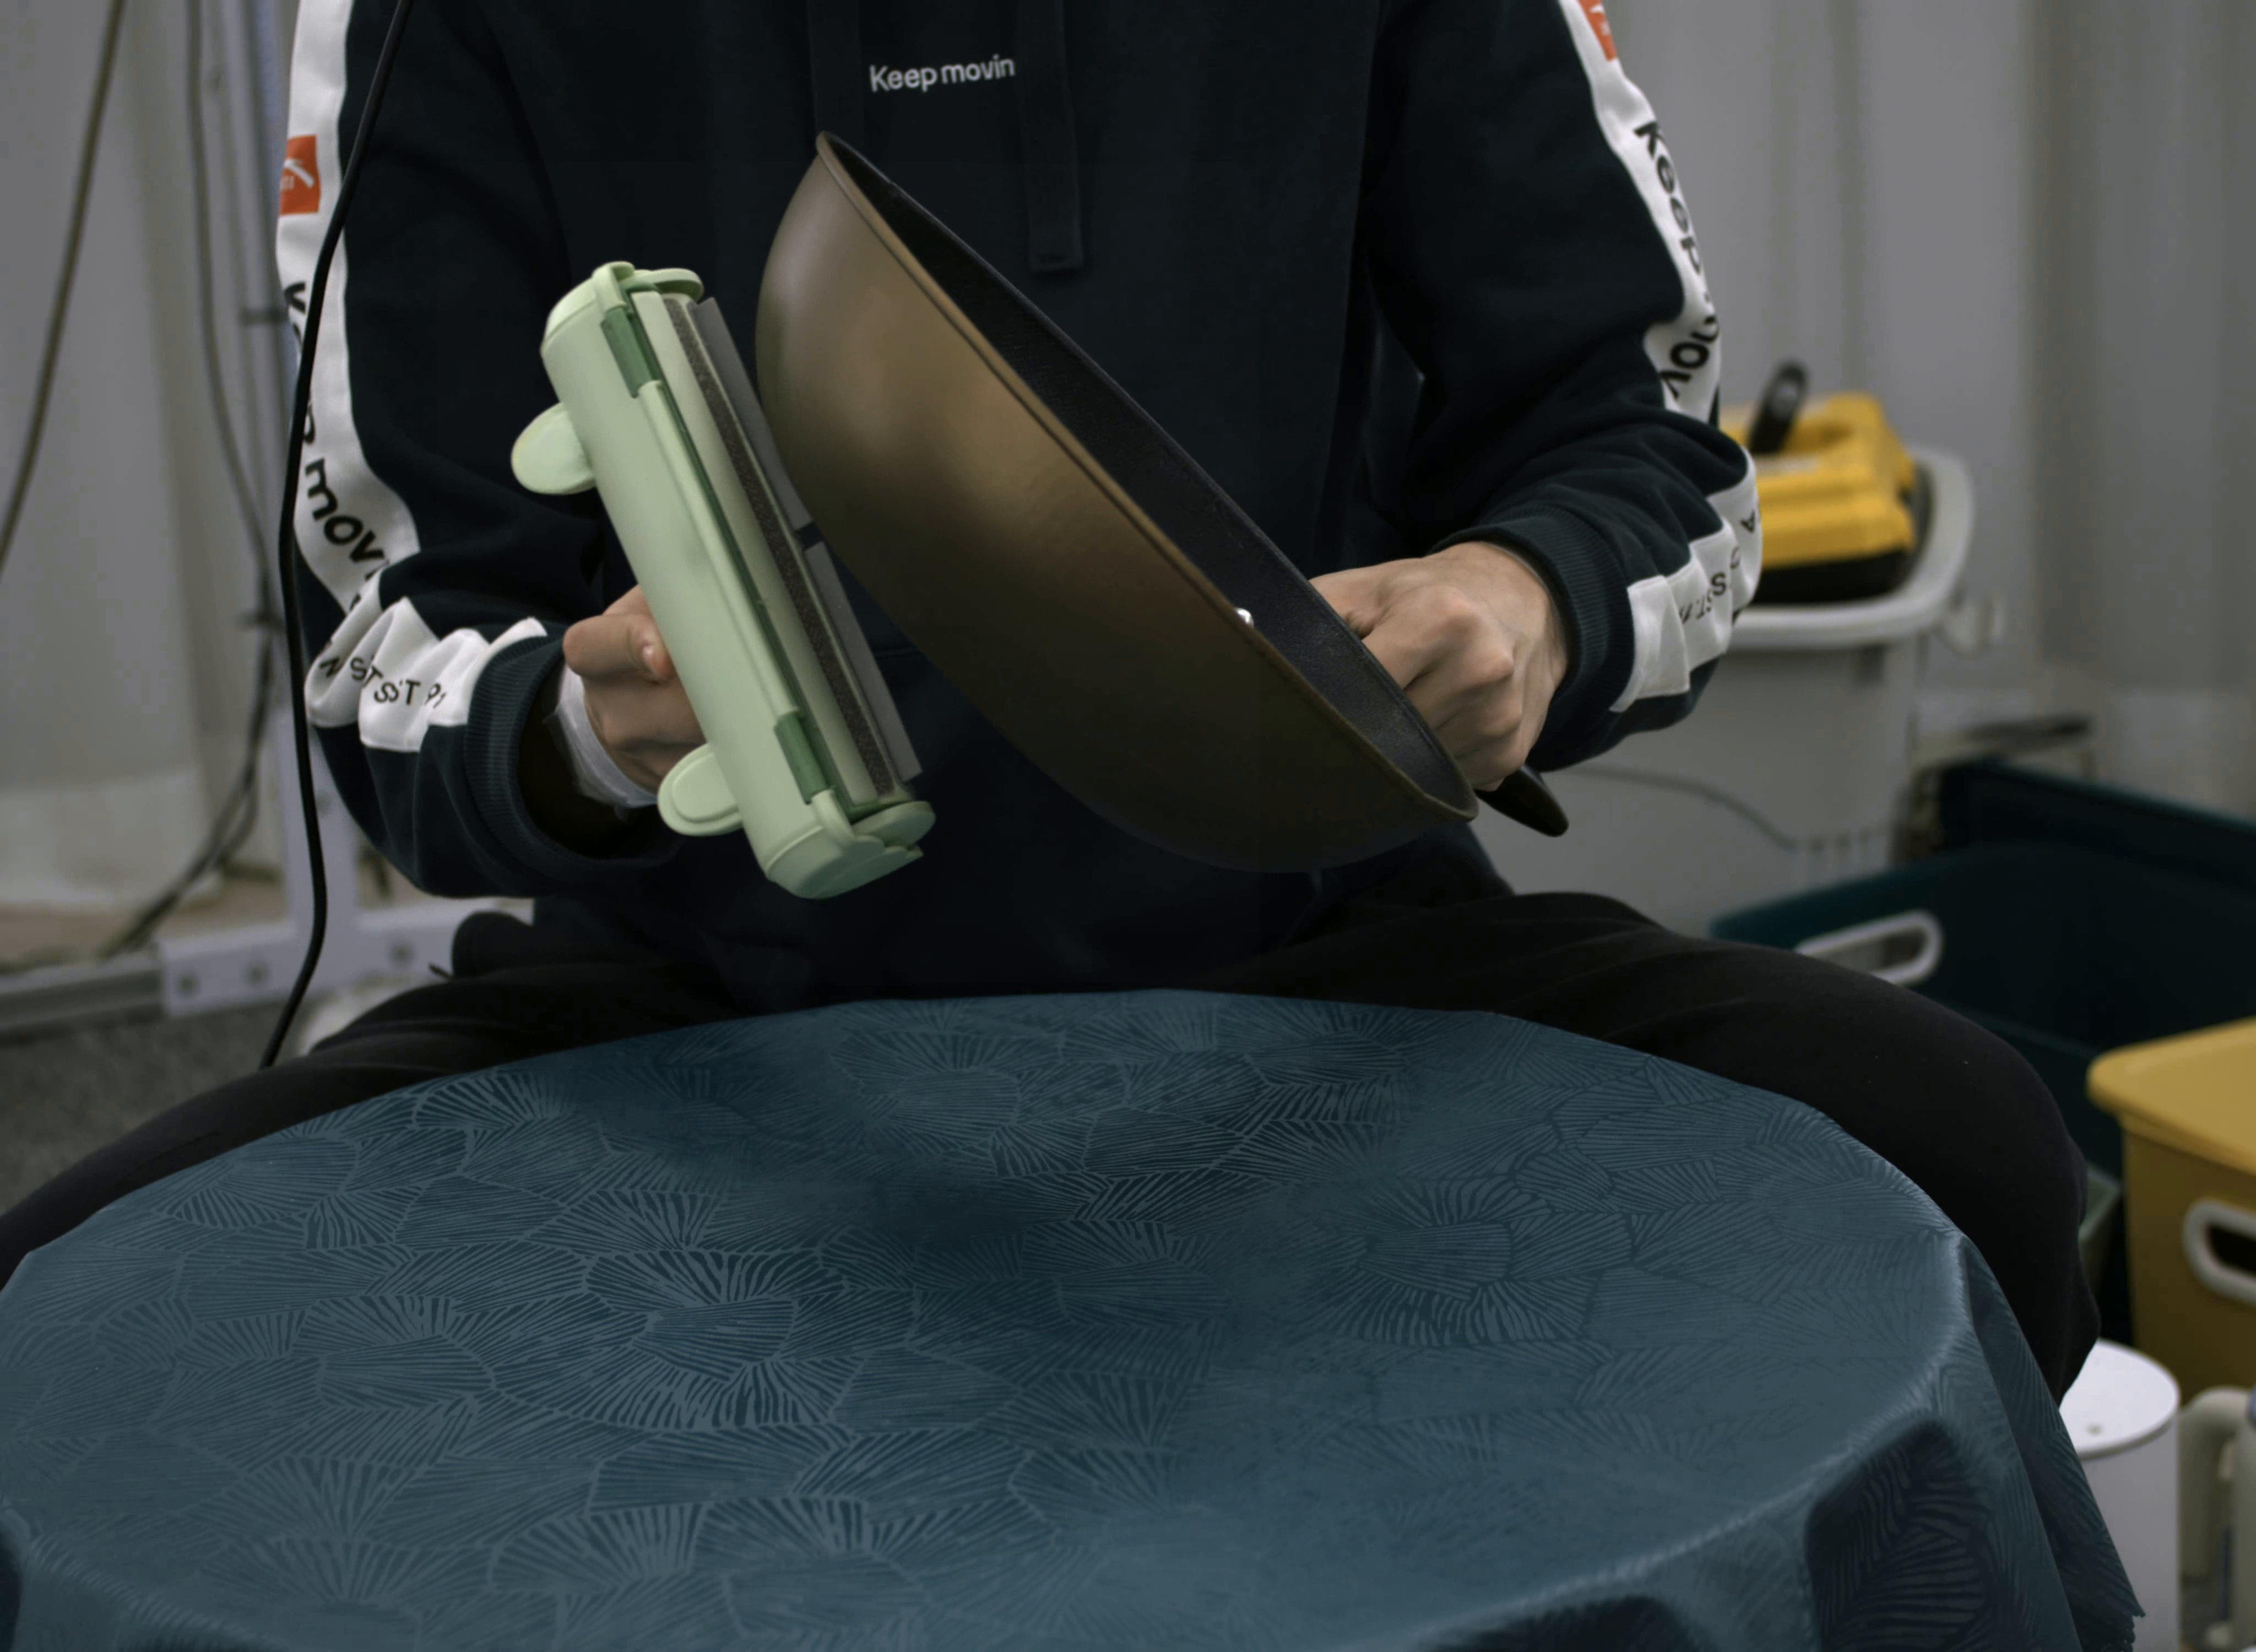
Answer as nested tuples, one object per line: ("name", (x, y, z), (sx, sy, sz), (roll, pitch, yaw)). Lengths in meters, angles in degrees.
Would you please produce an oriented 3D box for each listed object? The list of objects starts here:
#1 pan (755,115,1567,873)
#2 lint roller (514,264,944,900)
("pan", (0.018, -0.054, 1.707), (0.292, 0.087, 0.458), (51, 8, 31))
("lint roller", (-0.133, -0.054, 1.689), (0.082, 0.200, 0.182), (-20, -14, -18))
